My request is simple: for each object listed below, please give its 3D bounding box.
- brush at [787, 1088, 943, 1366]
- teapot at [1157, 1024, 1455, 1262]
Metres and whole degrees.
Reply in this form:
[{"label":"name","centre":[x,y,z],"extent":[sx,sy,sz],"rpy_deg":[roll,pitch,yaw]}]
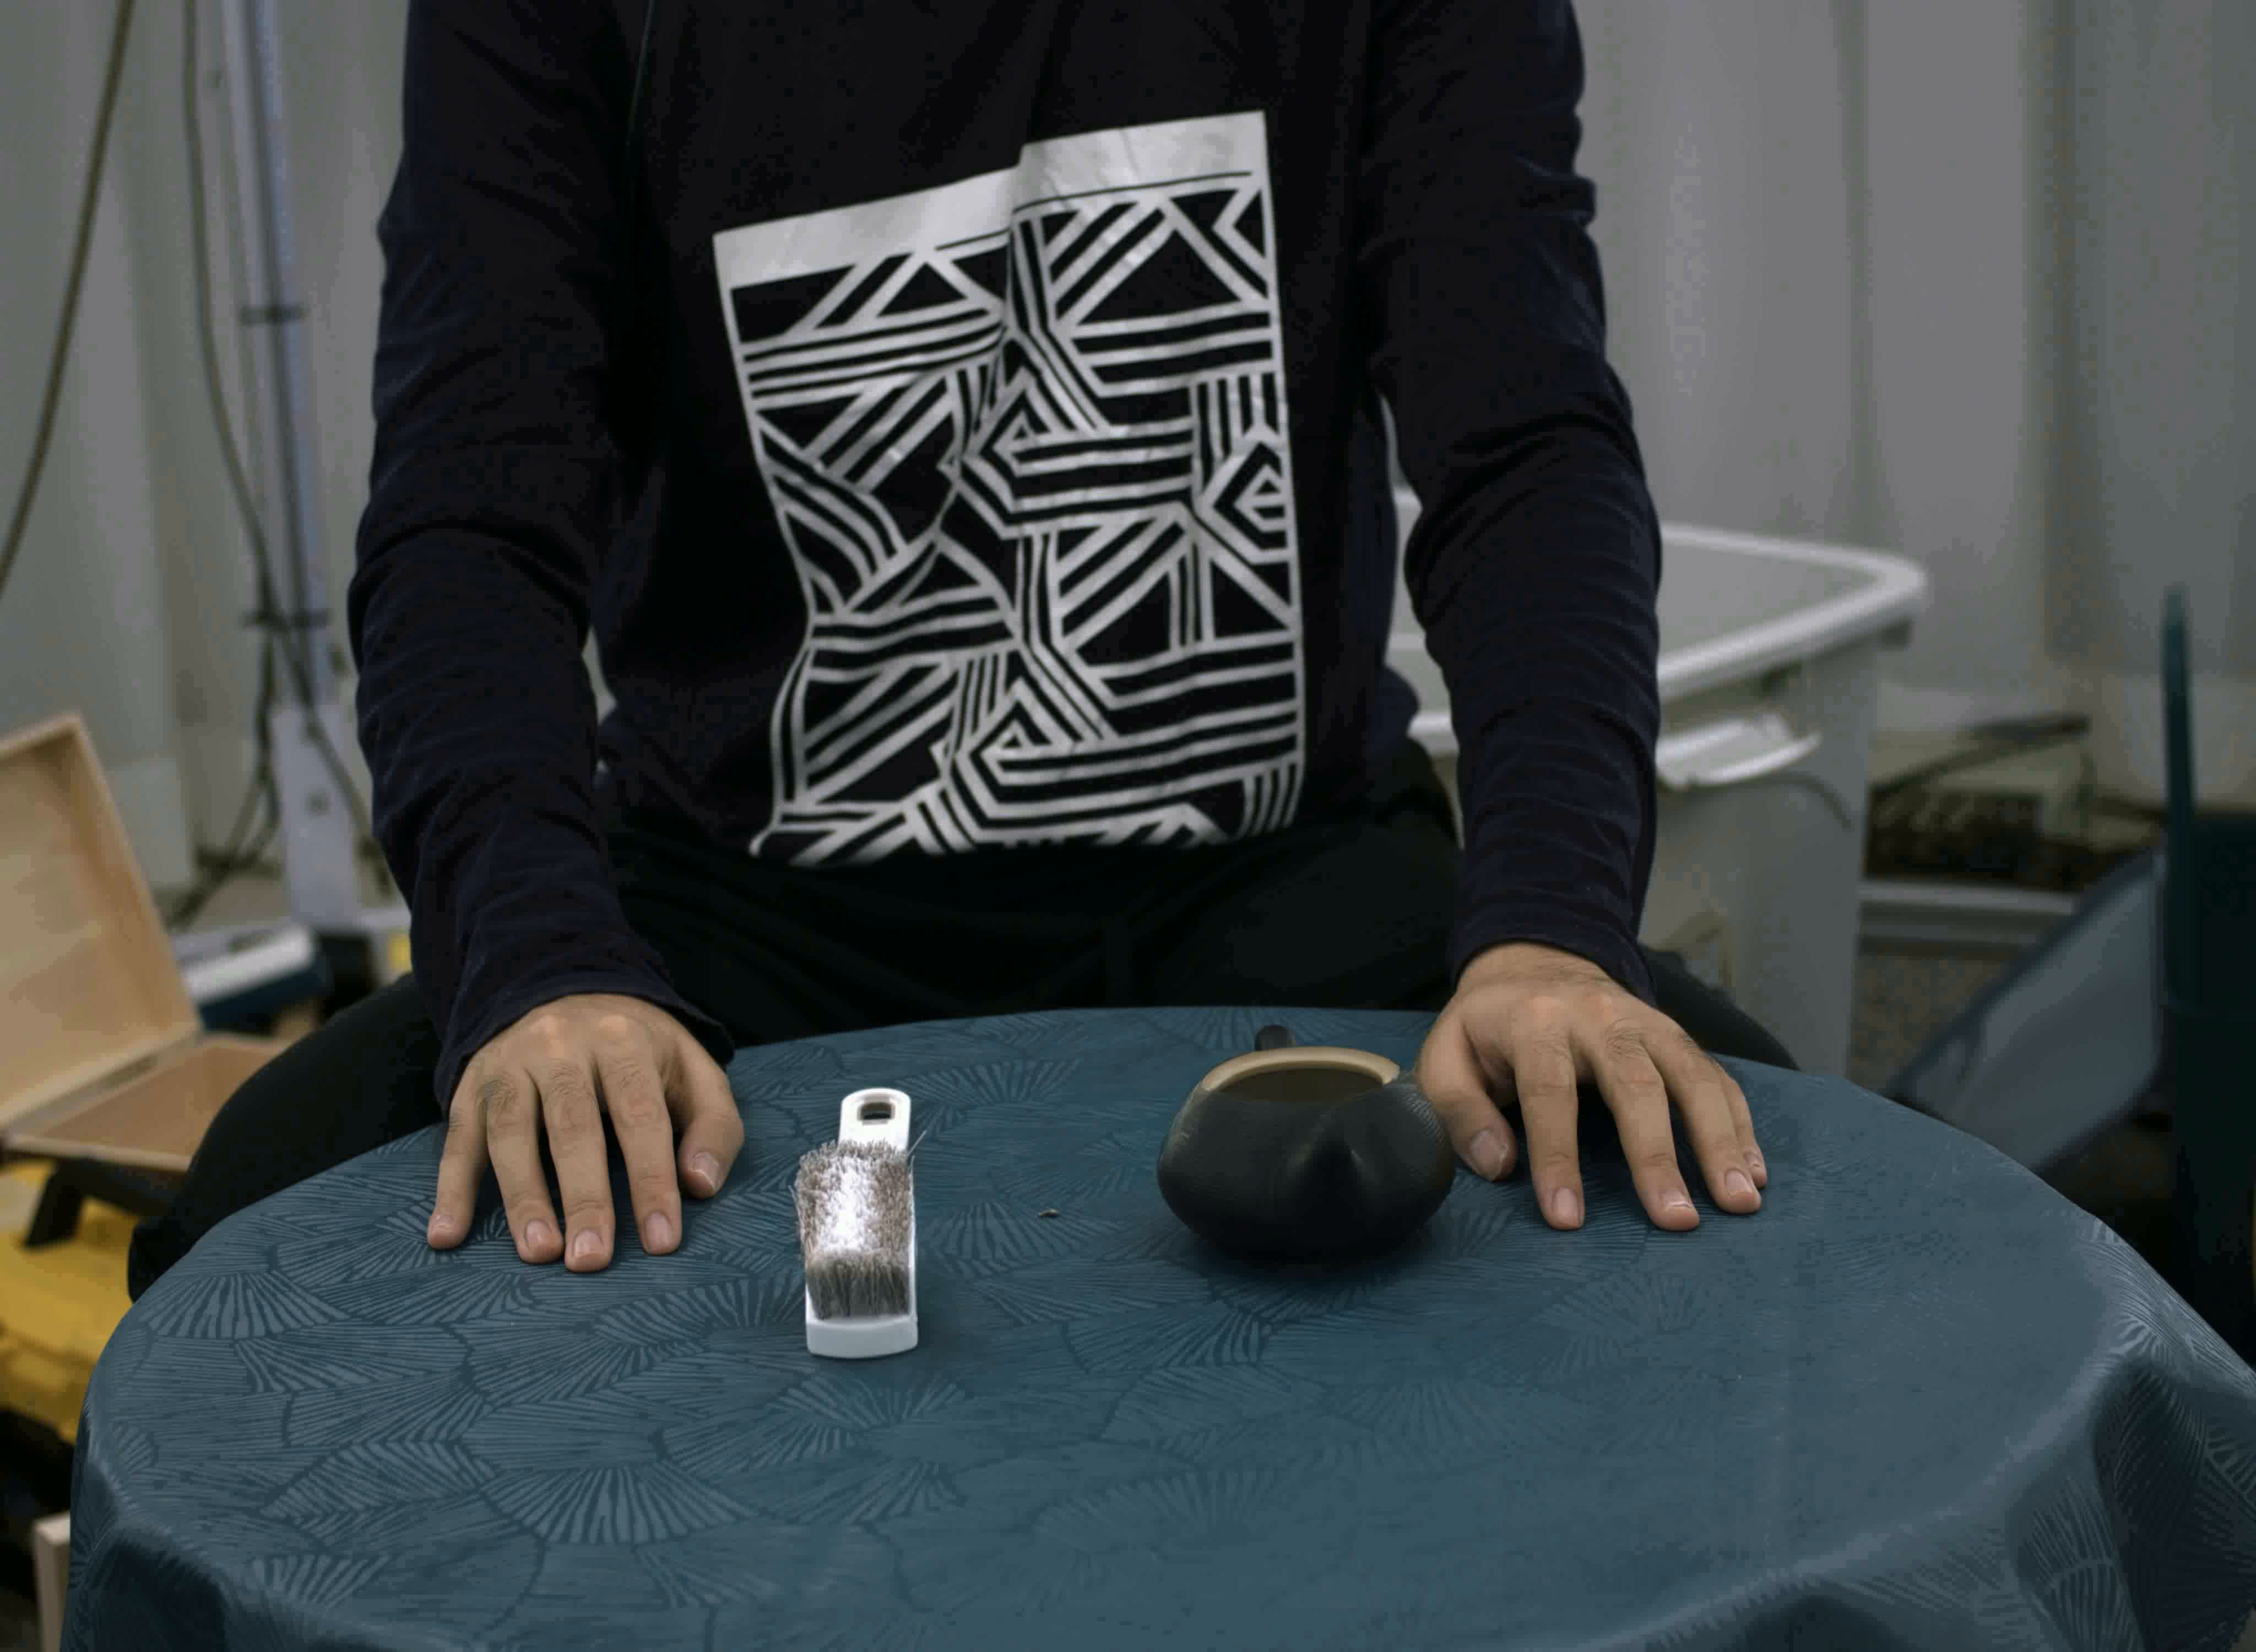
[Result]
[{"label":"brush","centre":[-0.078,0.103,1.682],"extent":[0.034,0.050,0.245],"rpy_deg":[-6,15,3]},{"label":"teapot","centre":[0.054,0.099,1.660],"extent":[0.090,0.053,0.134],"rpy_deg":[-2,14,-8]}]
